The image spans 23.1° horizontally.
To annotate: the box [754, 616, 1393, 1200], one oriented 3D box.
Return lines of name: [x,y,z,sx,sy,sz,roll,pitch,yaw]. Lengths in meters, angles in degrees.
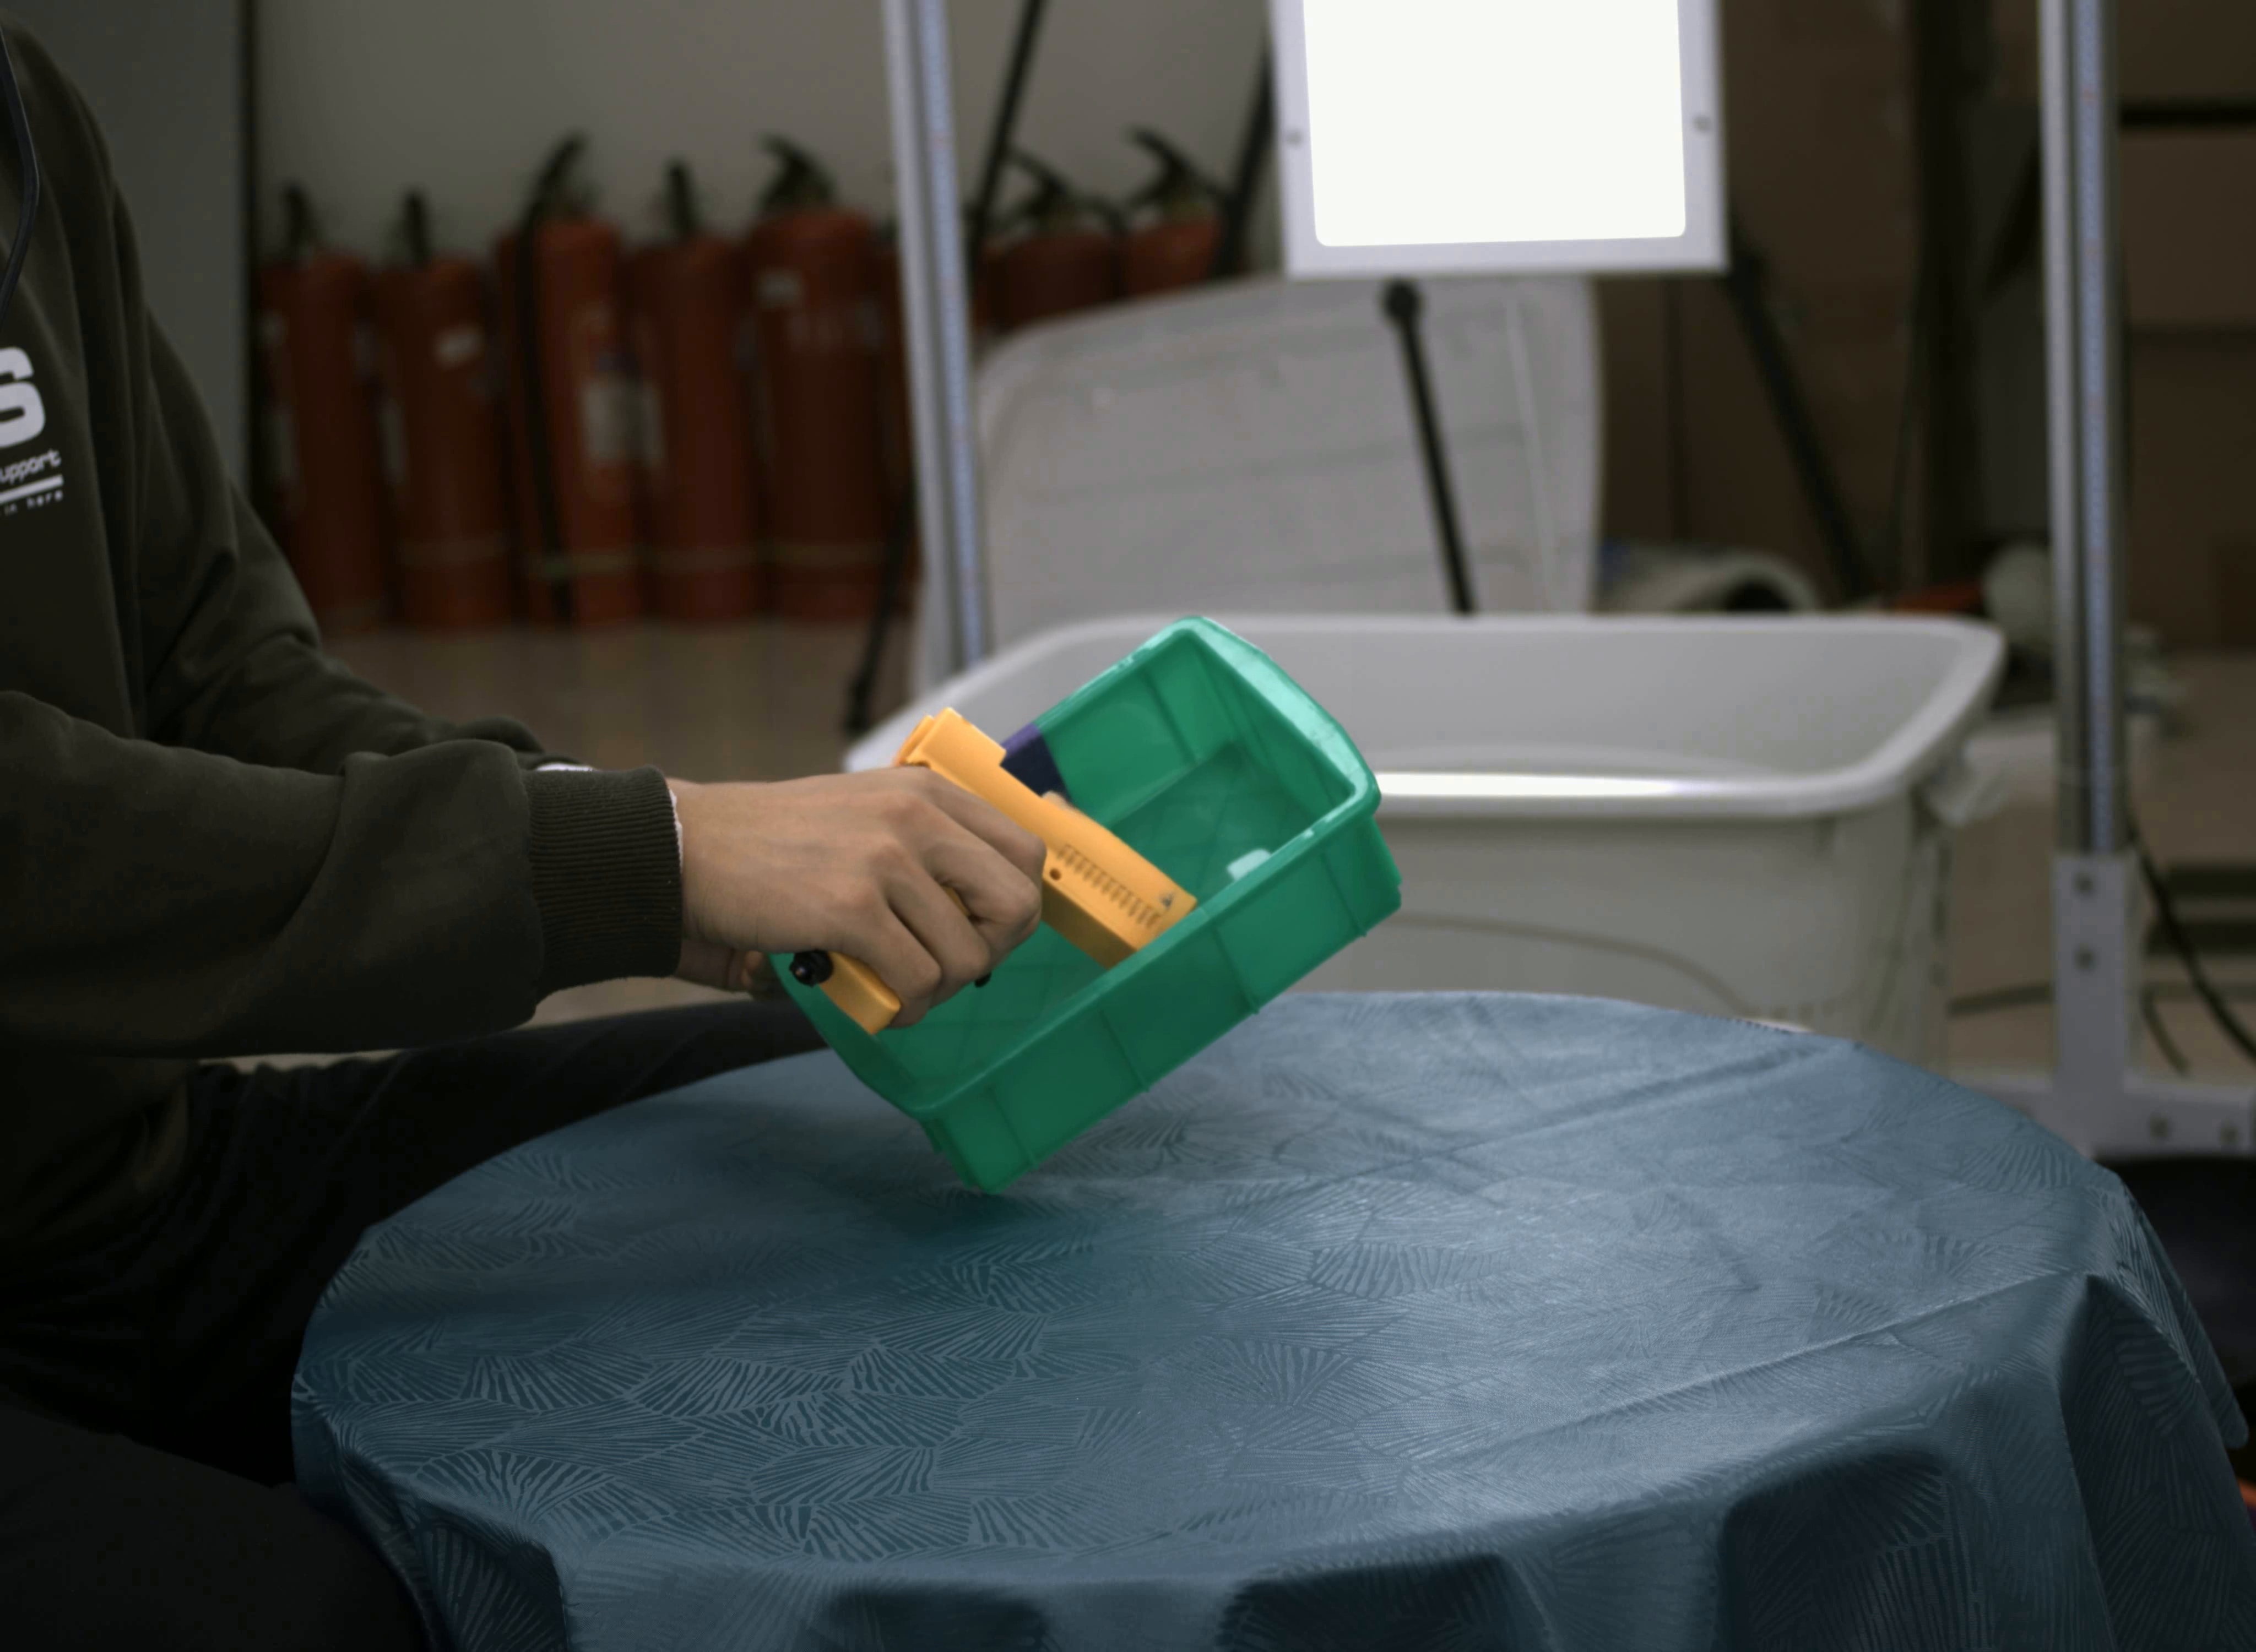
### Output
box: [-0.015,0.032,1.943,0.209,0.065,0.140,-38,40,-6]

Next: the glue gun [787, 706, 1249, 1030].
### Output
glue gun: [-0.032,0.043,1.886,0.150,0.032,0.131,34,48,-7]
